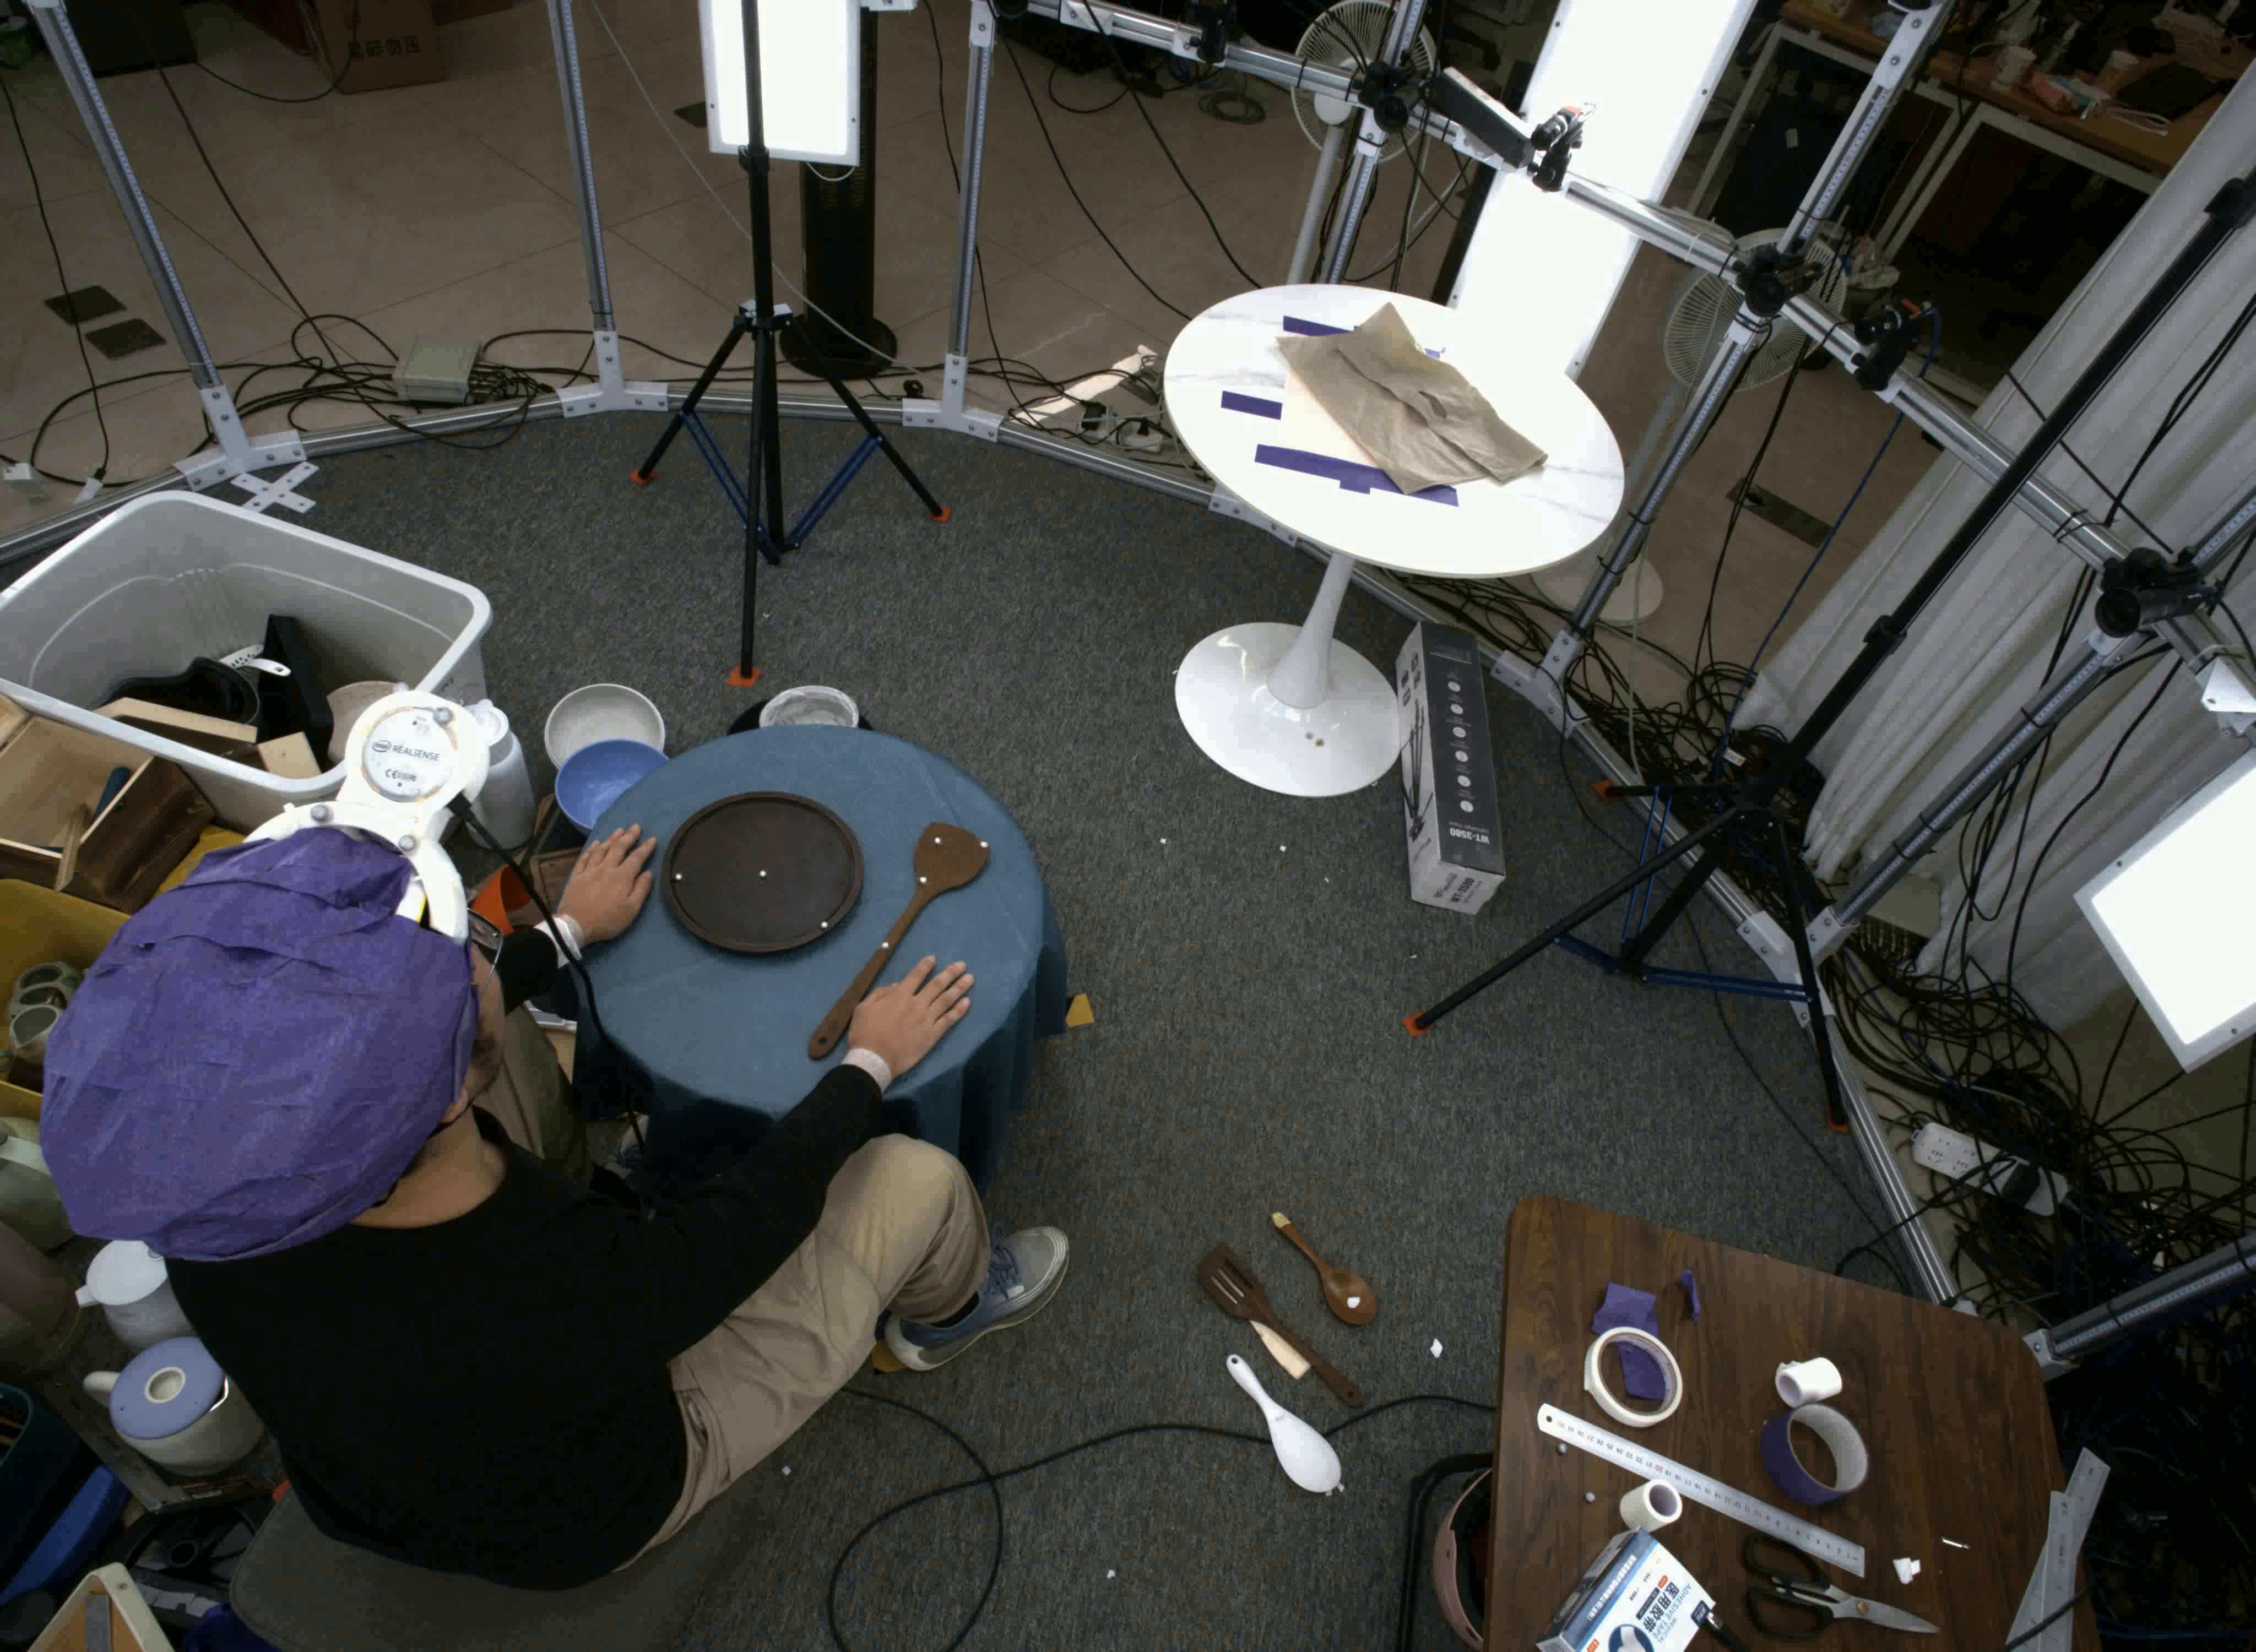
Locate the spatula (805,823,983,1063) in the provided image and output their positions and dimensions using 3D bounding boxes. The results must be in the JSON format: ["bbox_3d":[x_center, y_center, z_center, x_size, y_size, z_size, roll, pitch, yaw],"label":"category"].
[{"bbox_3d":[-0.301,0.139,1.638,0.095,0.016,0.383,25,52,5],"label":"spatula"}]

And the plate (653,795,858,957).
[{"bbox_3d":[-0.472,0.060,1.647,0.254,0.029,0.250,9,52,-10],"label":"plate"}]
